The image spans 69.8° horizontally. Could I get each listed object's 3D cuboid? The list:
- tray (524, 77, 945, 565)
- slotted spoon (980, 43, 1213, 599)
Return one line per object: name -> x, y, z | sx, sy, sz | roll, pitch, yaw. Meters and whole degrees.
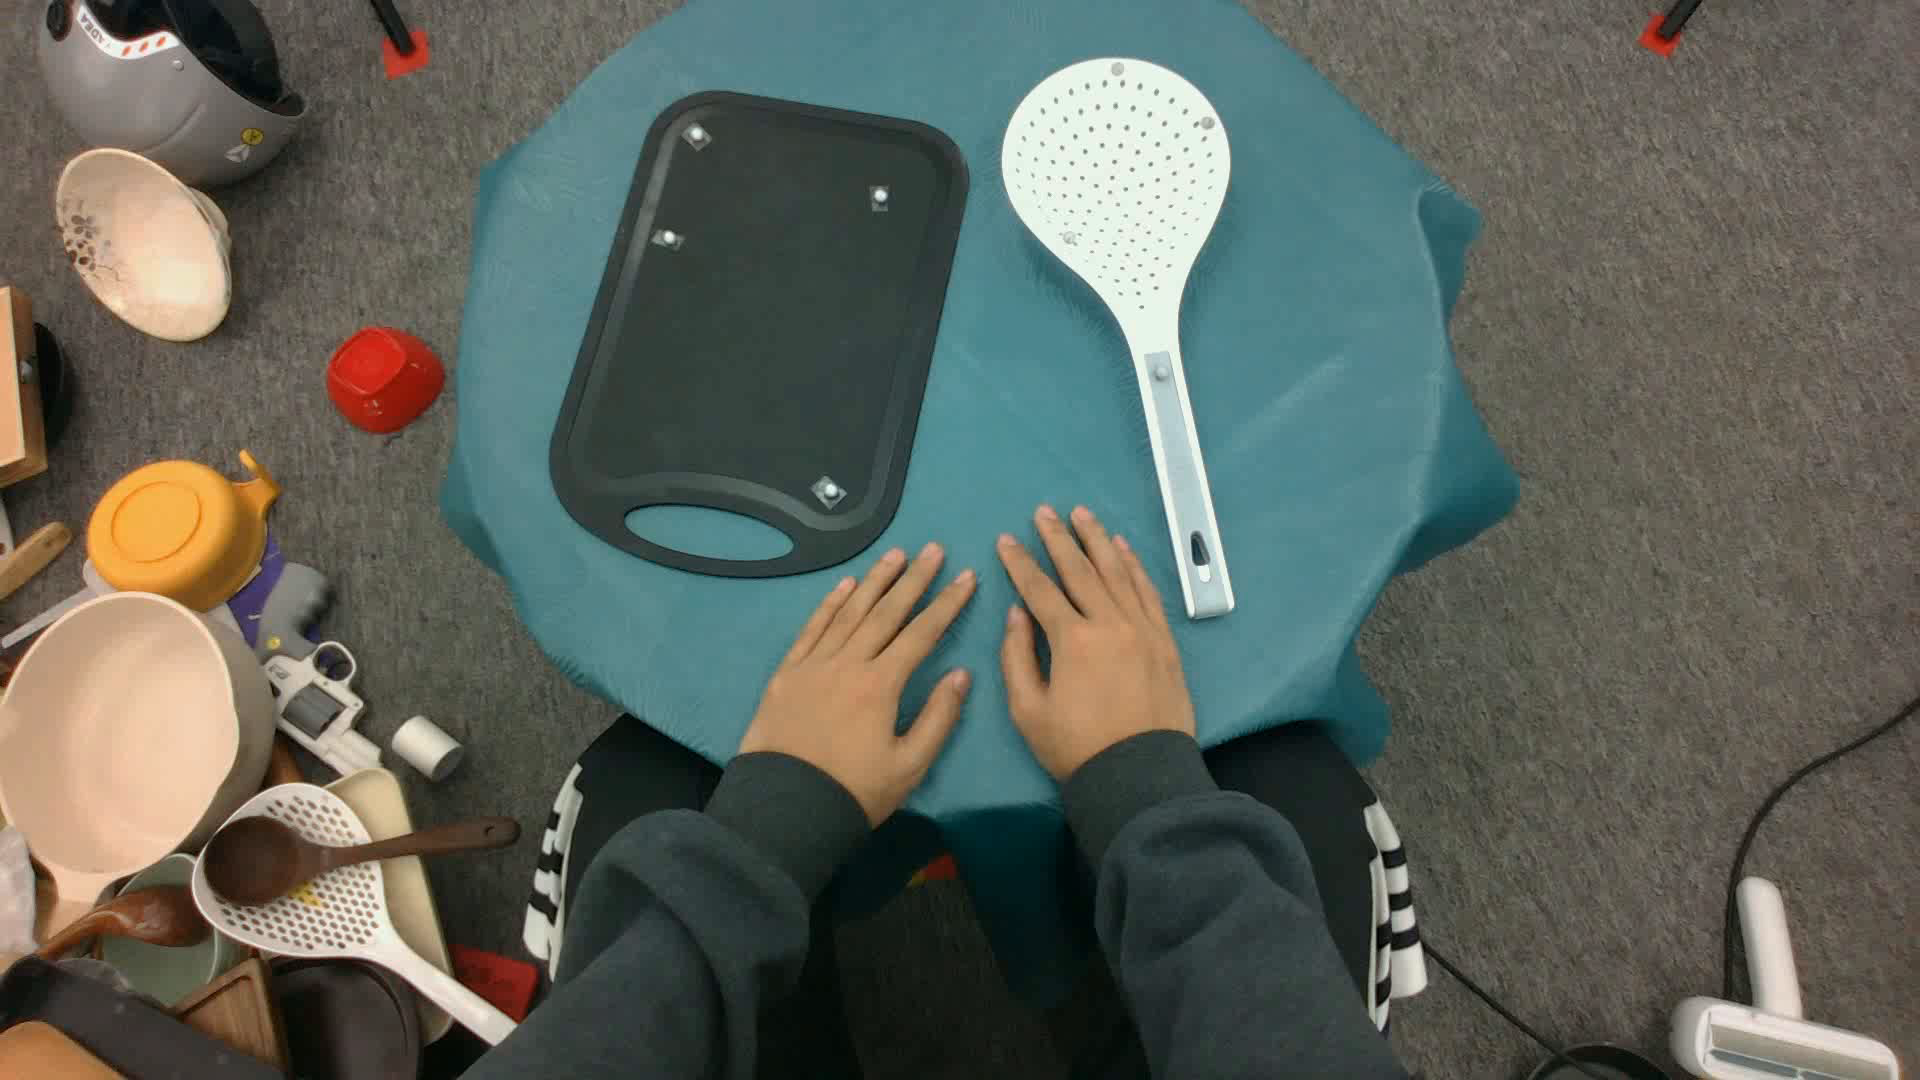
tray -> -0.133, -0.140, 0.832 | 0.211, 0.010, 0.326 | 10, 70, 3
slotted spoon -> 0.099, -0.135, 0.812 | 0.136, 0.045, 0.350 | -10, 71, -2
